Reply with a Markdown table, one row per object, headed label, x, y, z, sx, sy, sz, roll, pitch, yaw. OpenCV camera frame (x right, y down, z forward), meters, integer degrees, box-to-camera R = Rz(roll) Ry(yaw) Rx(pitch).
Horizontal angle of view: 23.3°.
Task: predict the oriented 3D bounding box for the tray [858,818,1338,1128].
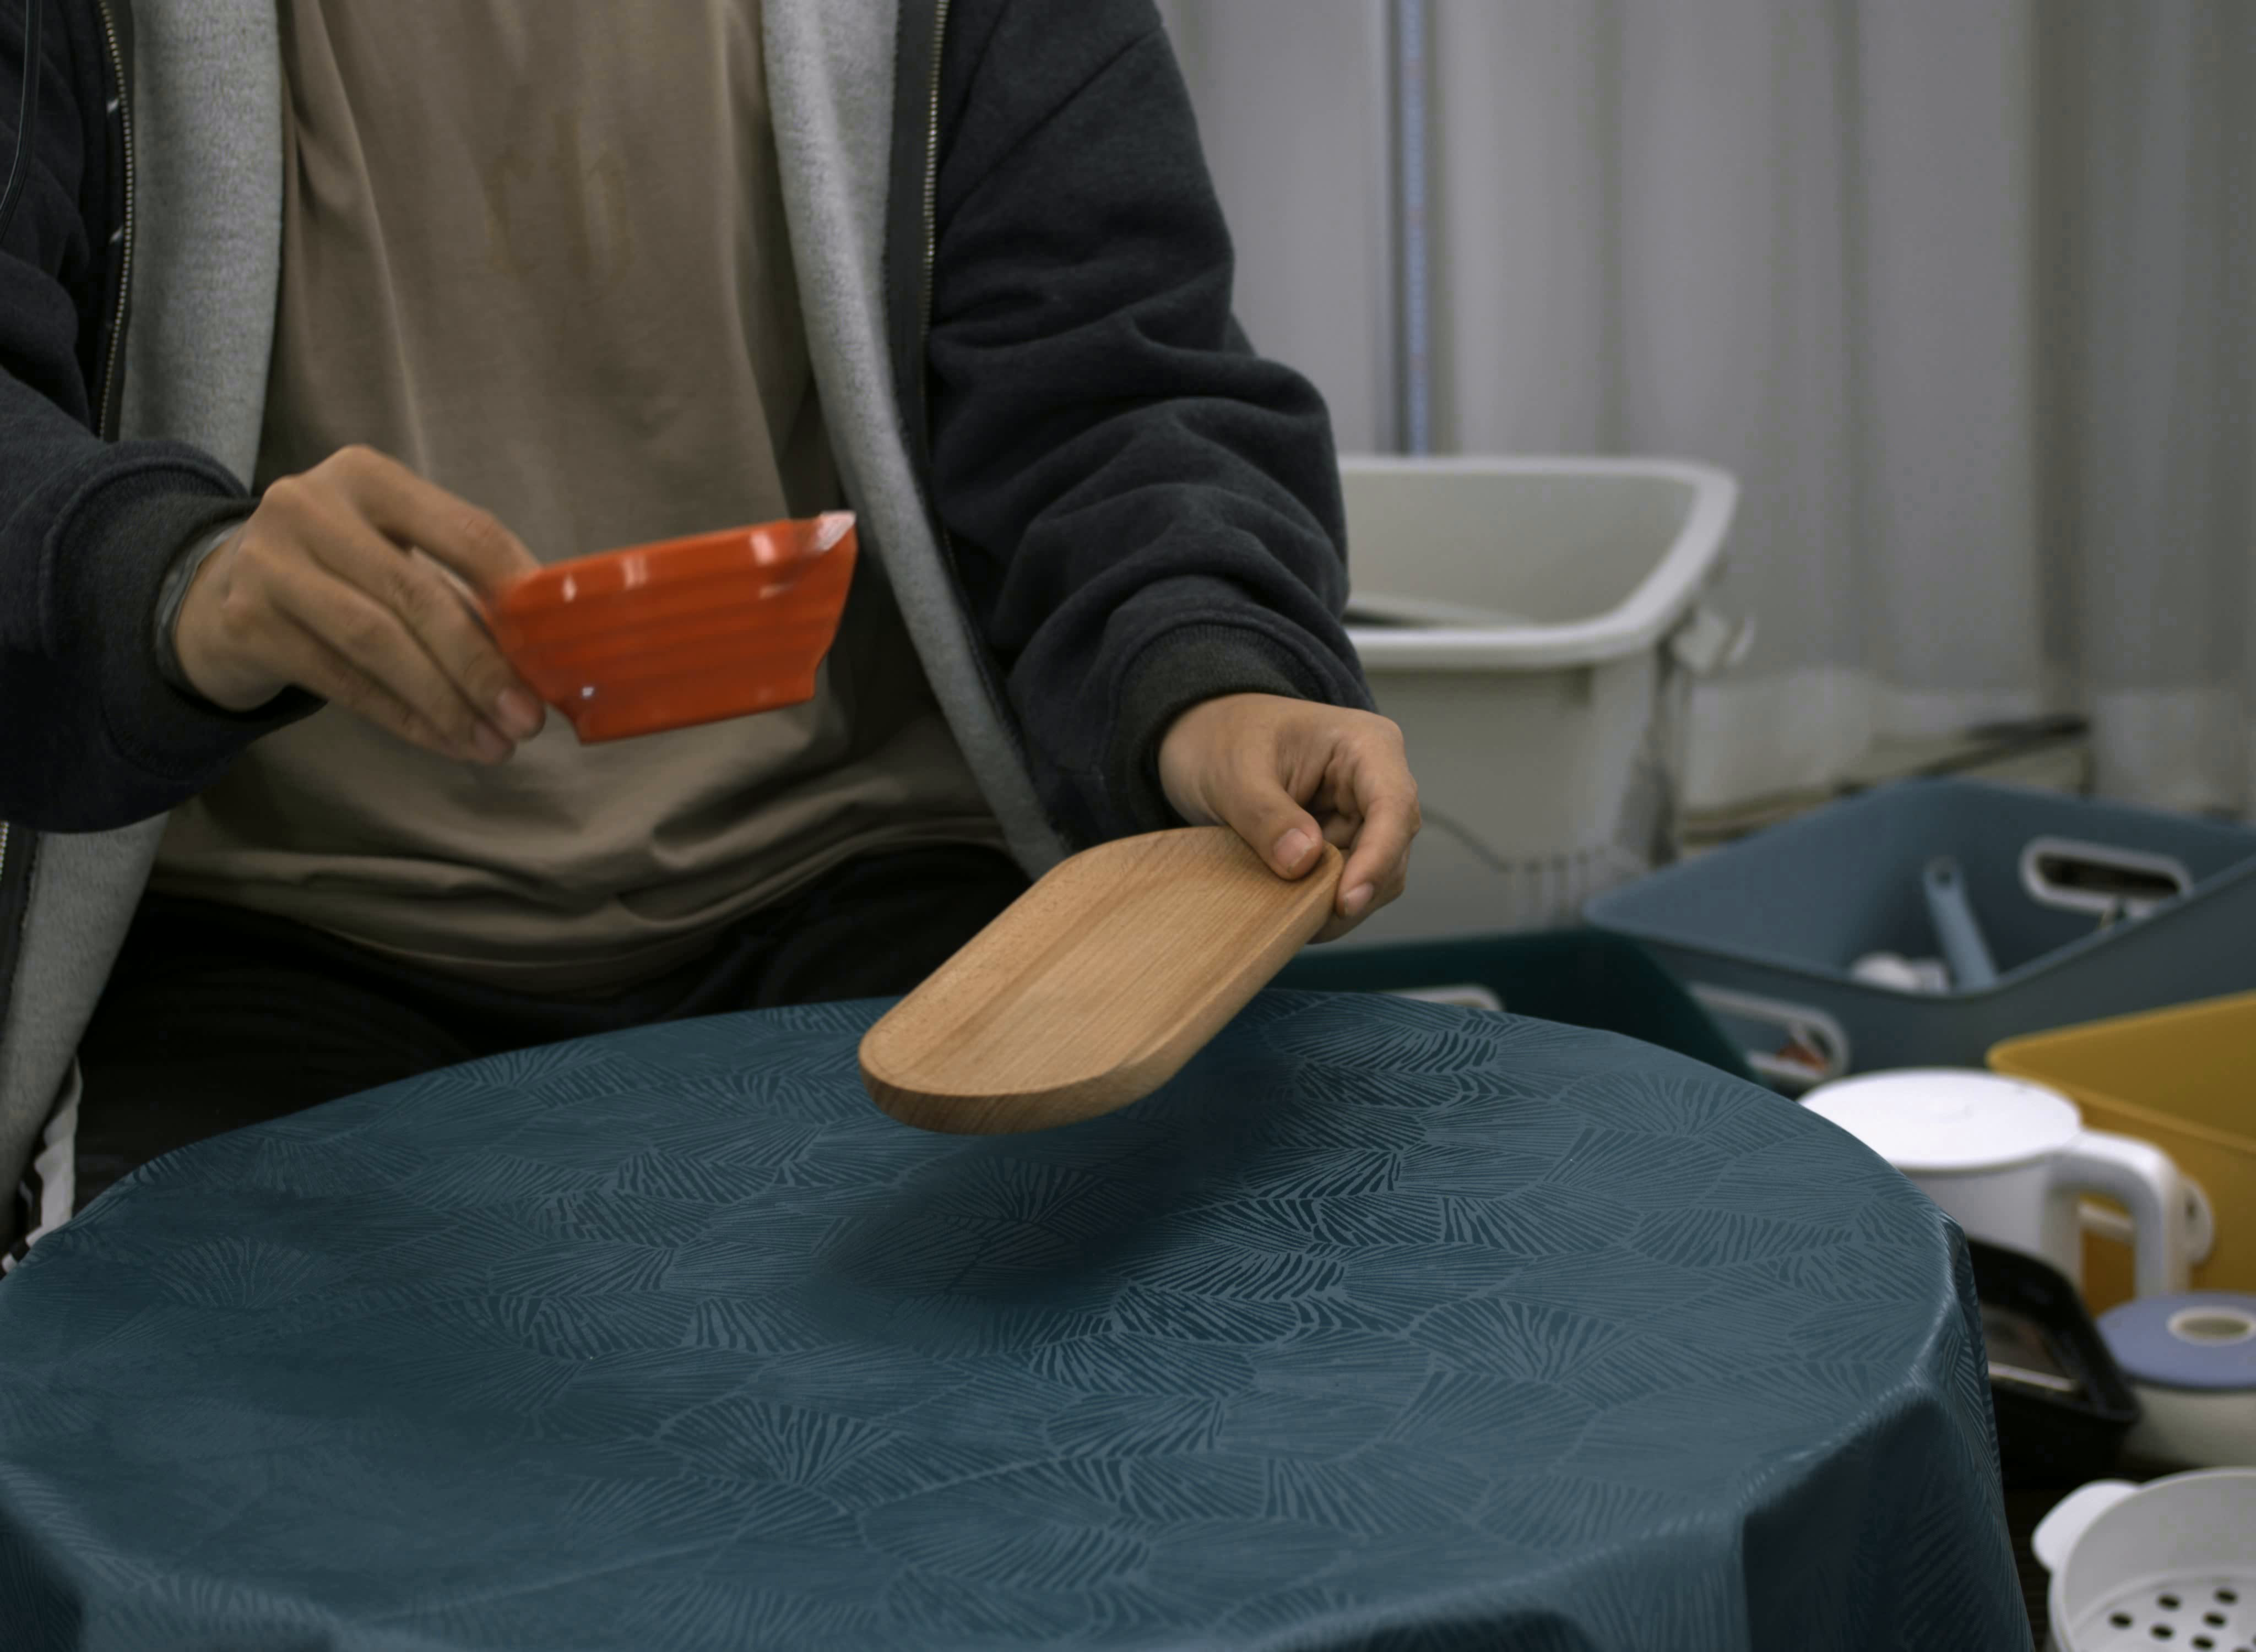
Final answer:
| label | x | y | z | sx | sy | sz | roll | pitch | yaw |
| --- | --- | --- | --- | --- | --- | --- | --- | --- | --- |
| tray | -0.007 | 0.043 | 1.703 | 0.102 | 0.020 | 0.232 | 2 | 20 | 22 |

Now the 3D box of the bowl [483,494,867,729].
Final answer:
| label | x | y | z | sx | sy | sz | roll | pitch | yaw |
| --- | --- | --- | --- | --- | --- | --- | --- | --- | --- |
| bowl | -0.127 | -0.059 | 1.581 | 0.118 | 0.051 | 0.119 | -11 | -1 | -1 |
